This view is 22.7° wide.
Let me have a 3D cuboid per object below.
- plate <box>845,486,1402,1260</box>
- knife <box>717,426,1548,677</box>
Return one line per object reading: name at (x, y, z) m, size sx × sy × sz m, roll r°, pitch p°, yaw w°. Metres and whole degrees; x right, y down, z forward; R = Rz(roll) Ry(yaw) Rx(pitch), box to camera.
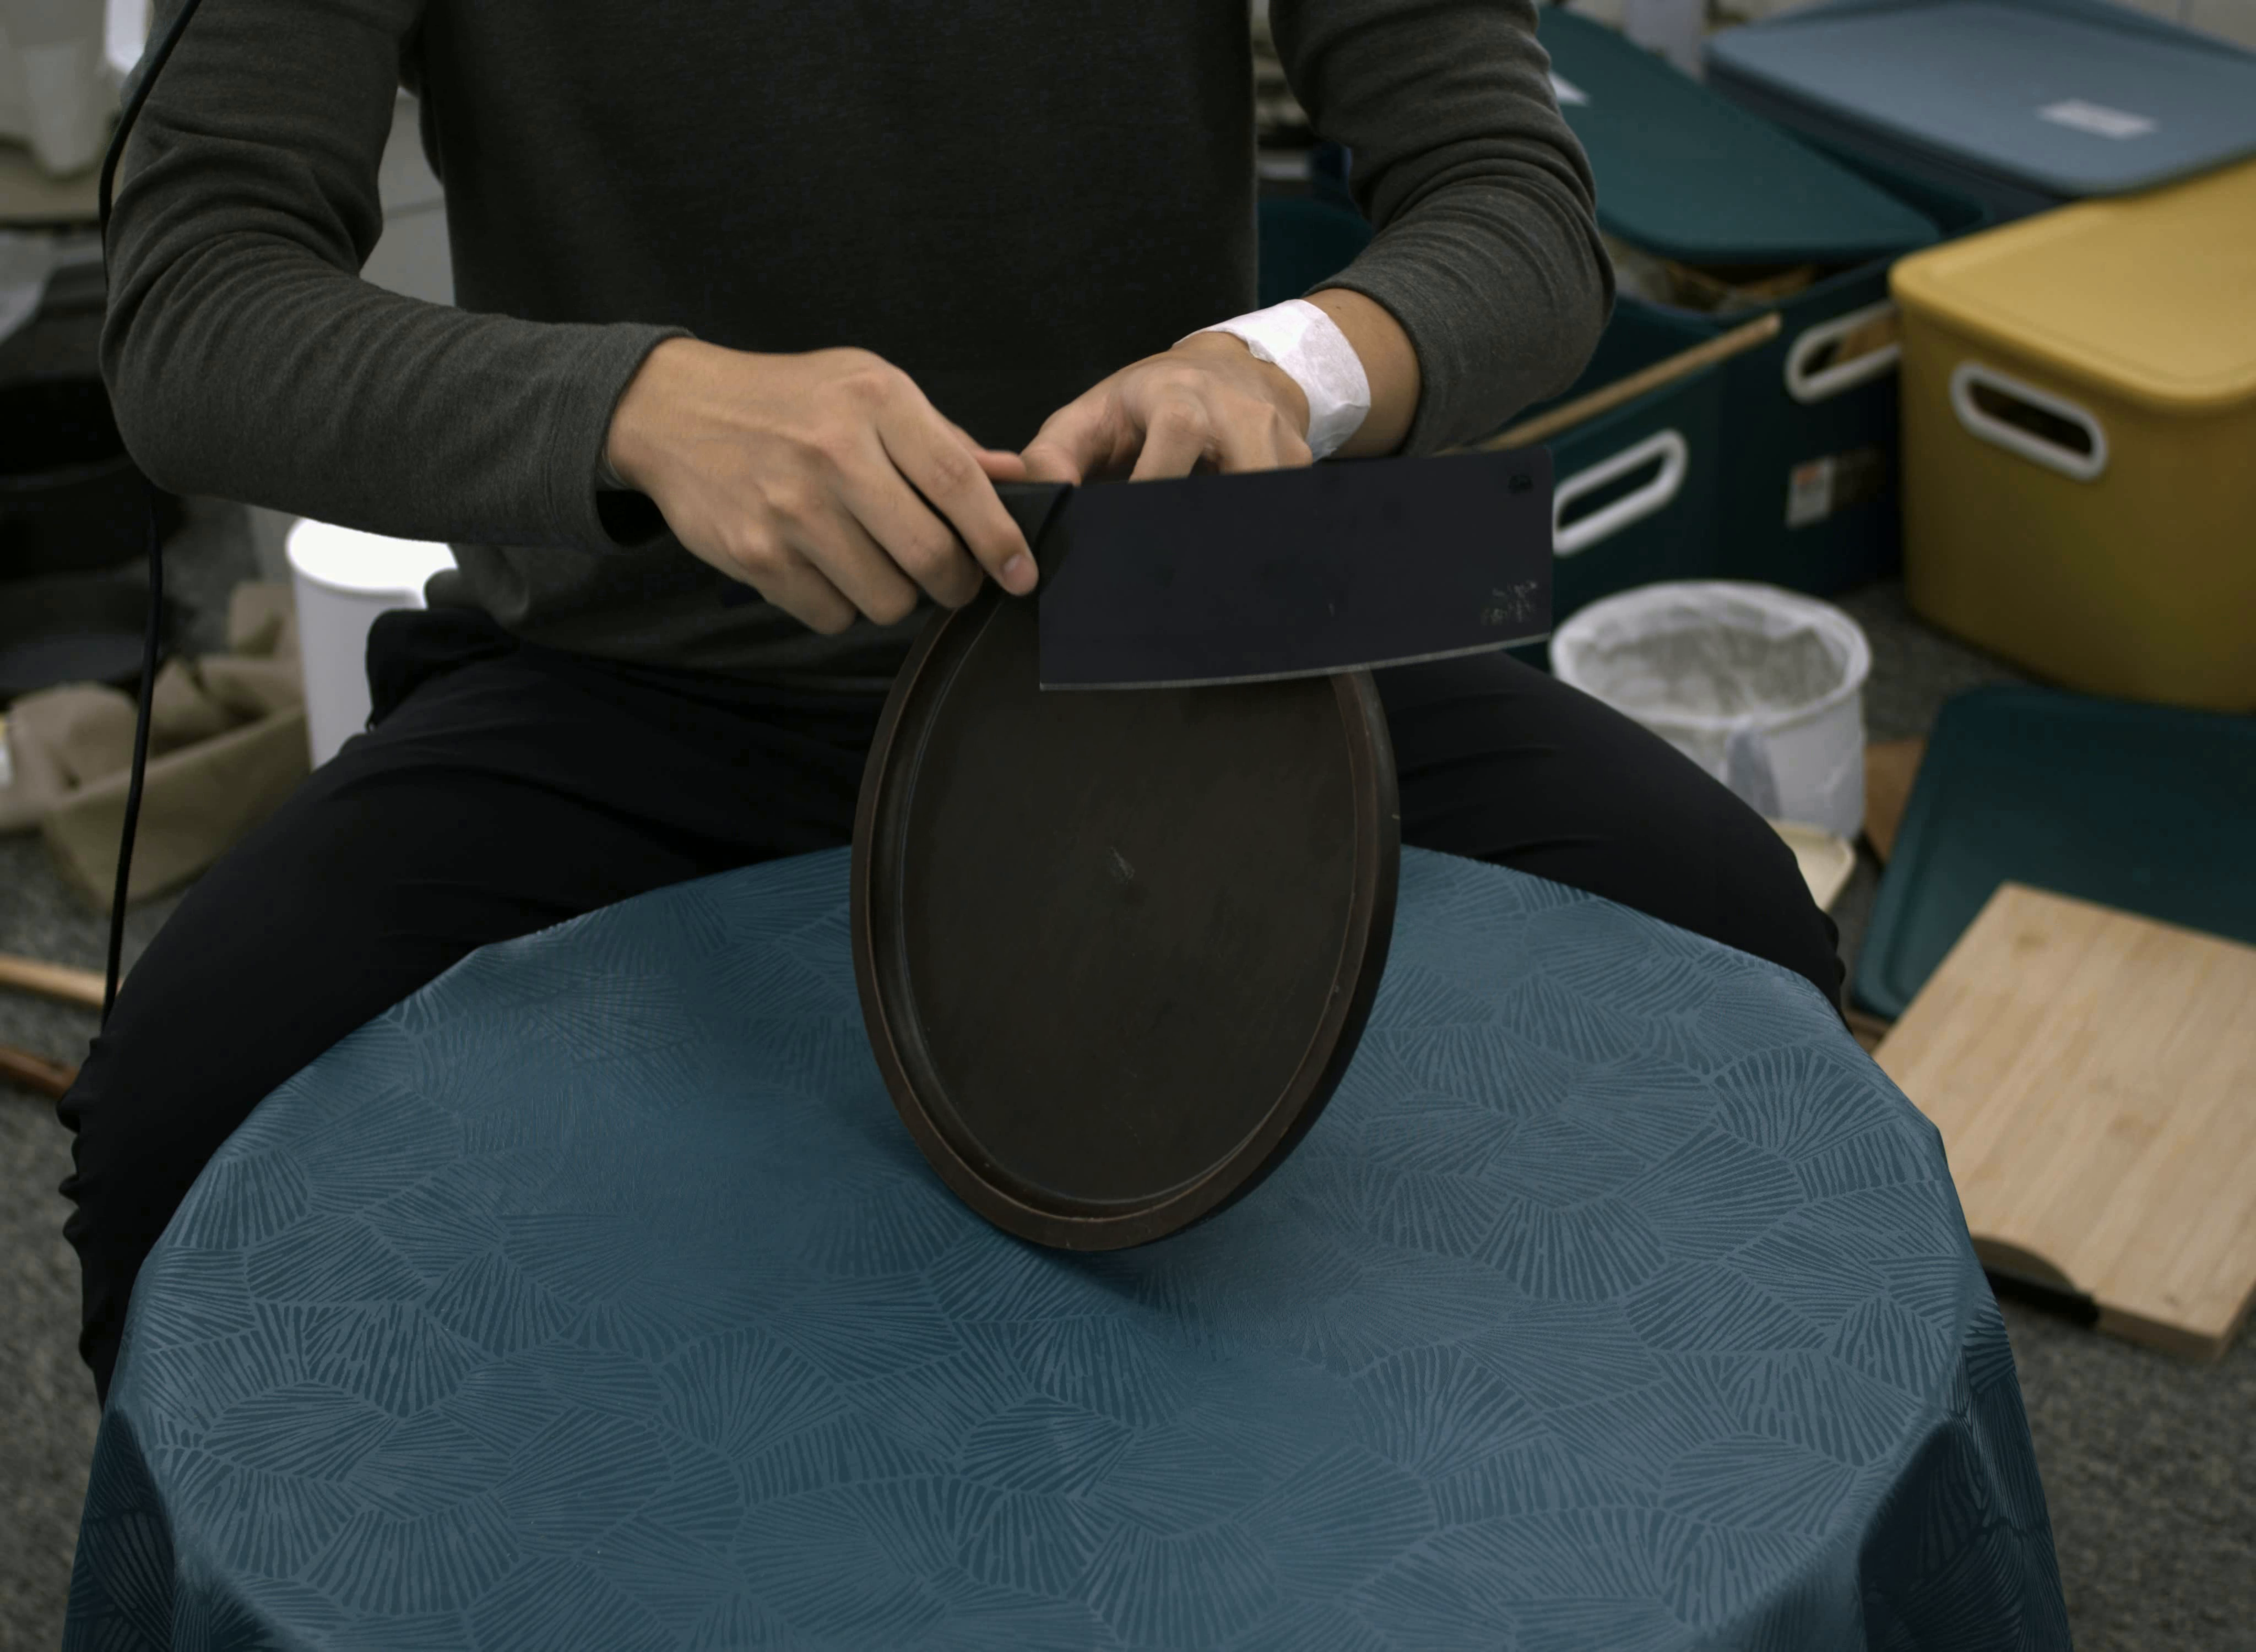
plate at (-0.003, 0.014, 1.833) m, size 0.029 × 0.254 × 0.255 m, roll 8°, pitch 14°, yaw -43°
knife at (-0.002, -0.086, 1.796) m, size 0.299 × 0.081 × 0.021 m, roll 1°, pitch -8°, yaw 29°
